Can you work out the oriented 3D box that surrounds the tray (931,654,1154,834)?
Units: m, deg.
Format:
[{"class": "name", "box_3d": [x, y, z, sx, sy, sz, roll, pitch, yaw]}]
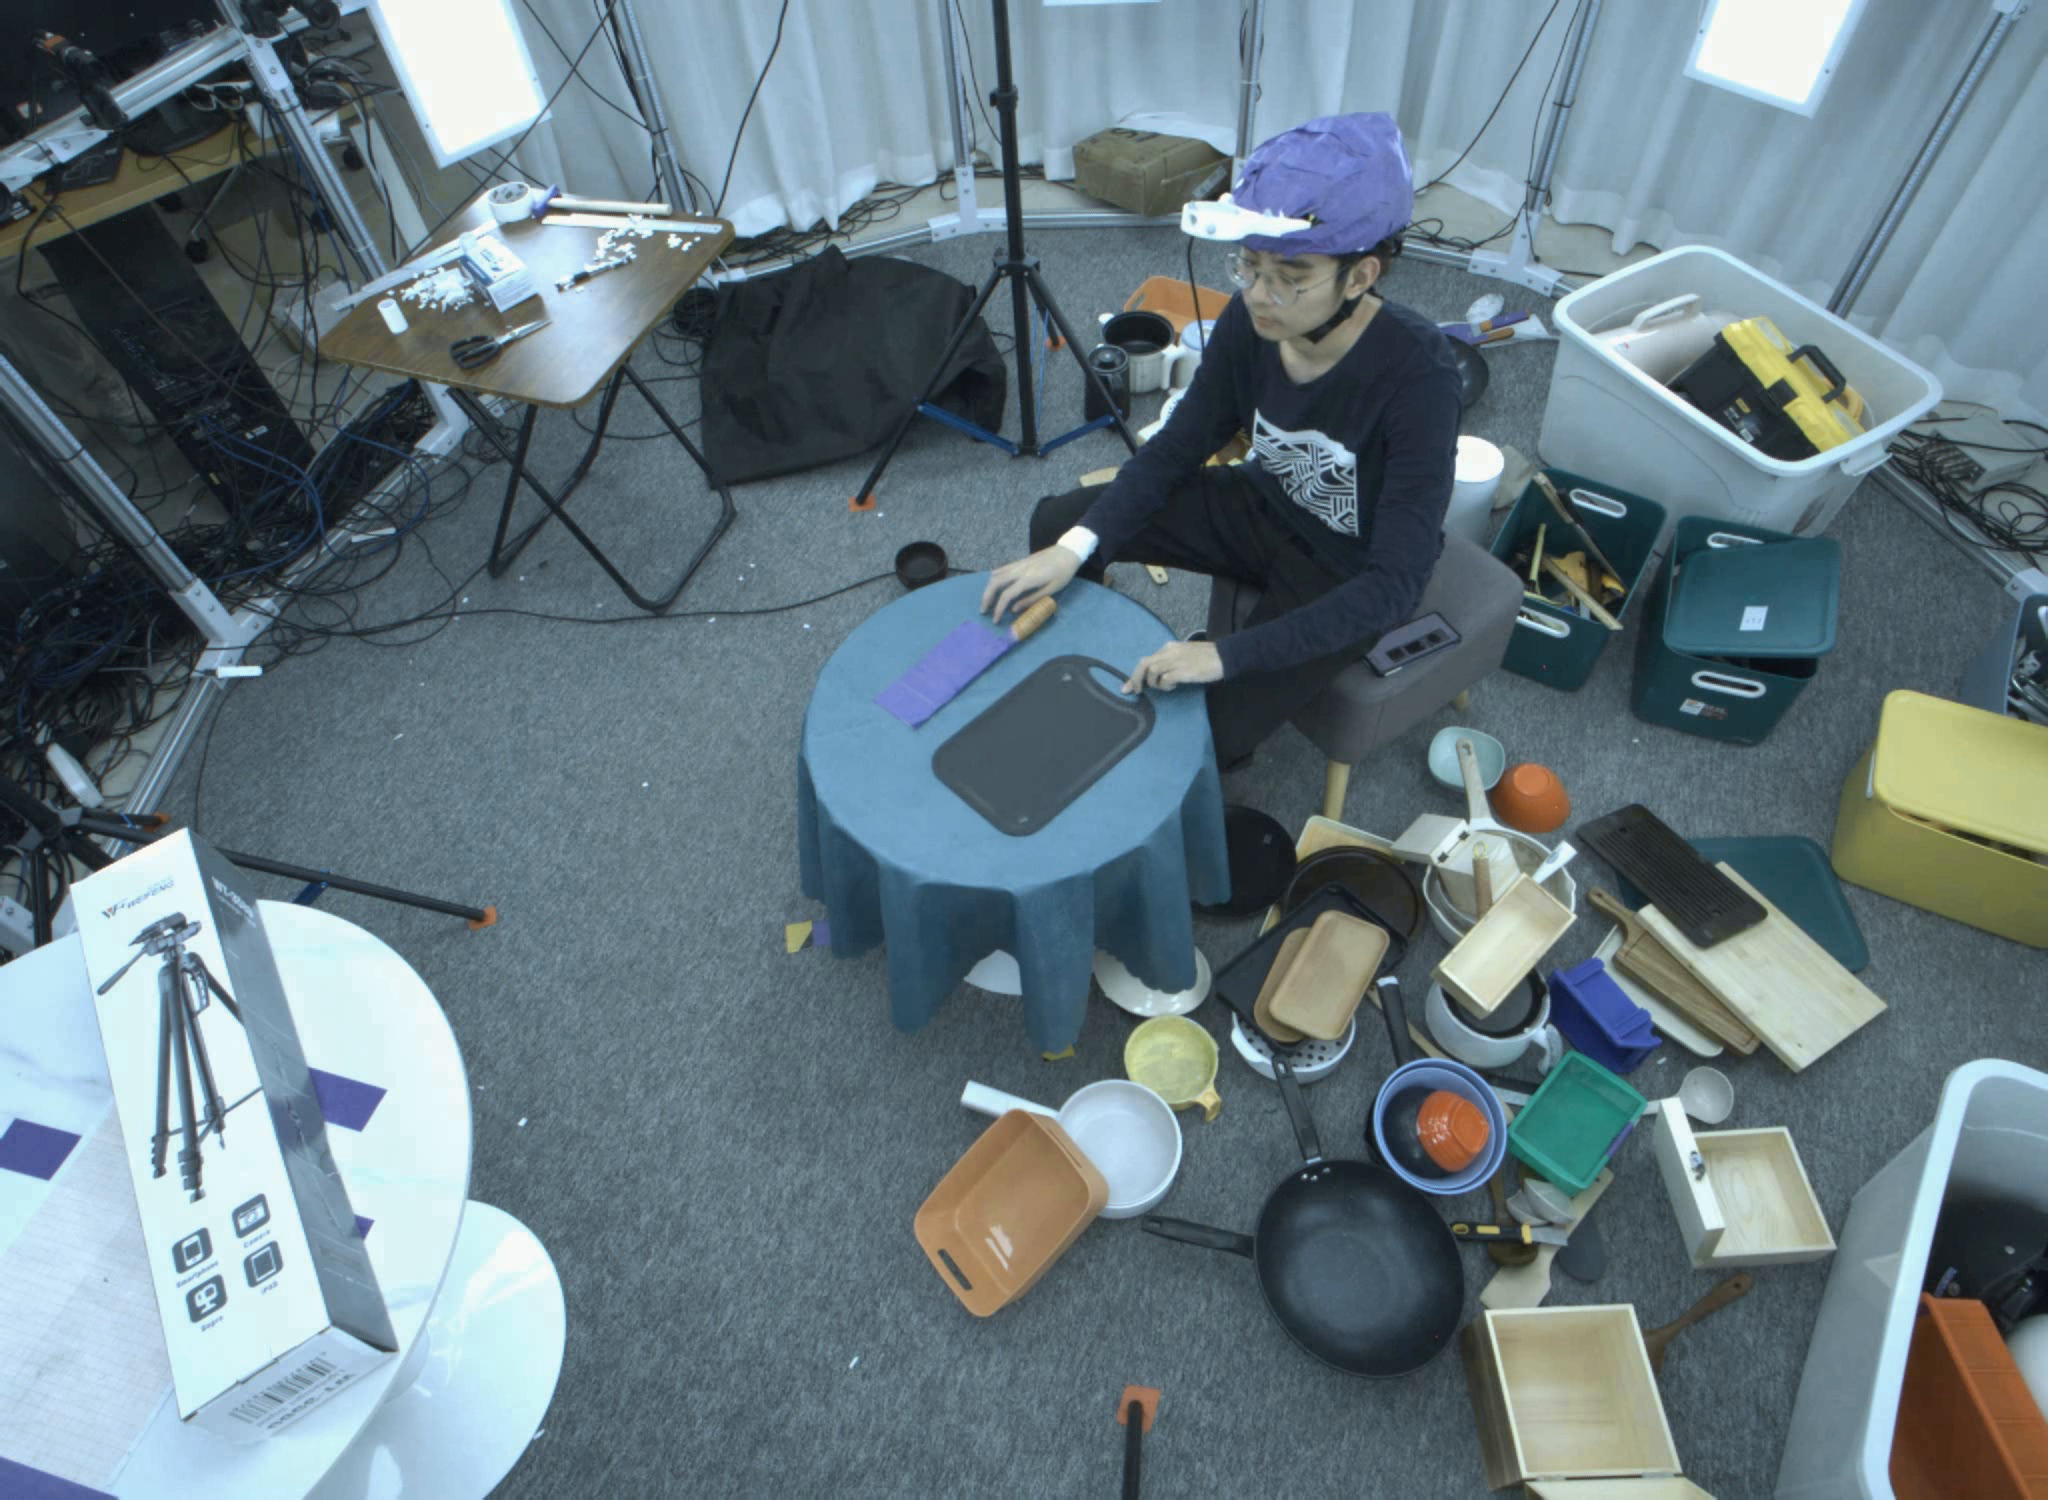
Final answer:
[{"class": "tray", "box_3d": [0.034, -0.022, 1.805, 0.328, 0.010, 0.207, -39, 62, -23]}]

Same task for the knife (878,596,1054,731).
[{"class": "knife", "box_3d": [-0.090, -0.153, 1.890, 0.102, 0.032, 0.317, 36, 63, 24]}]
